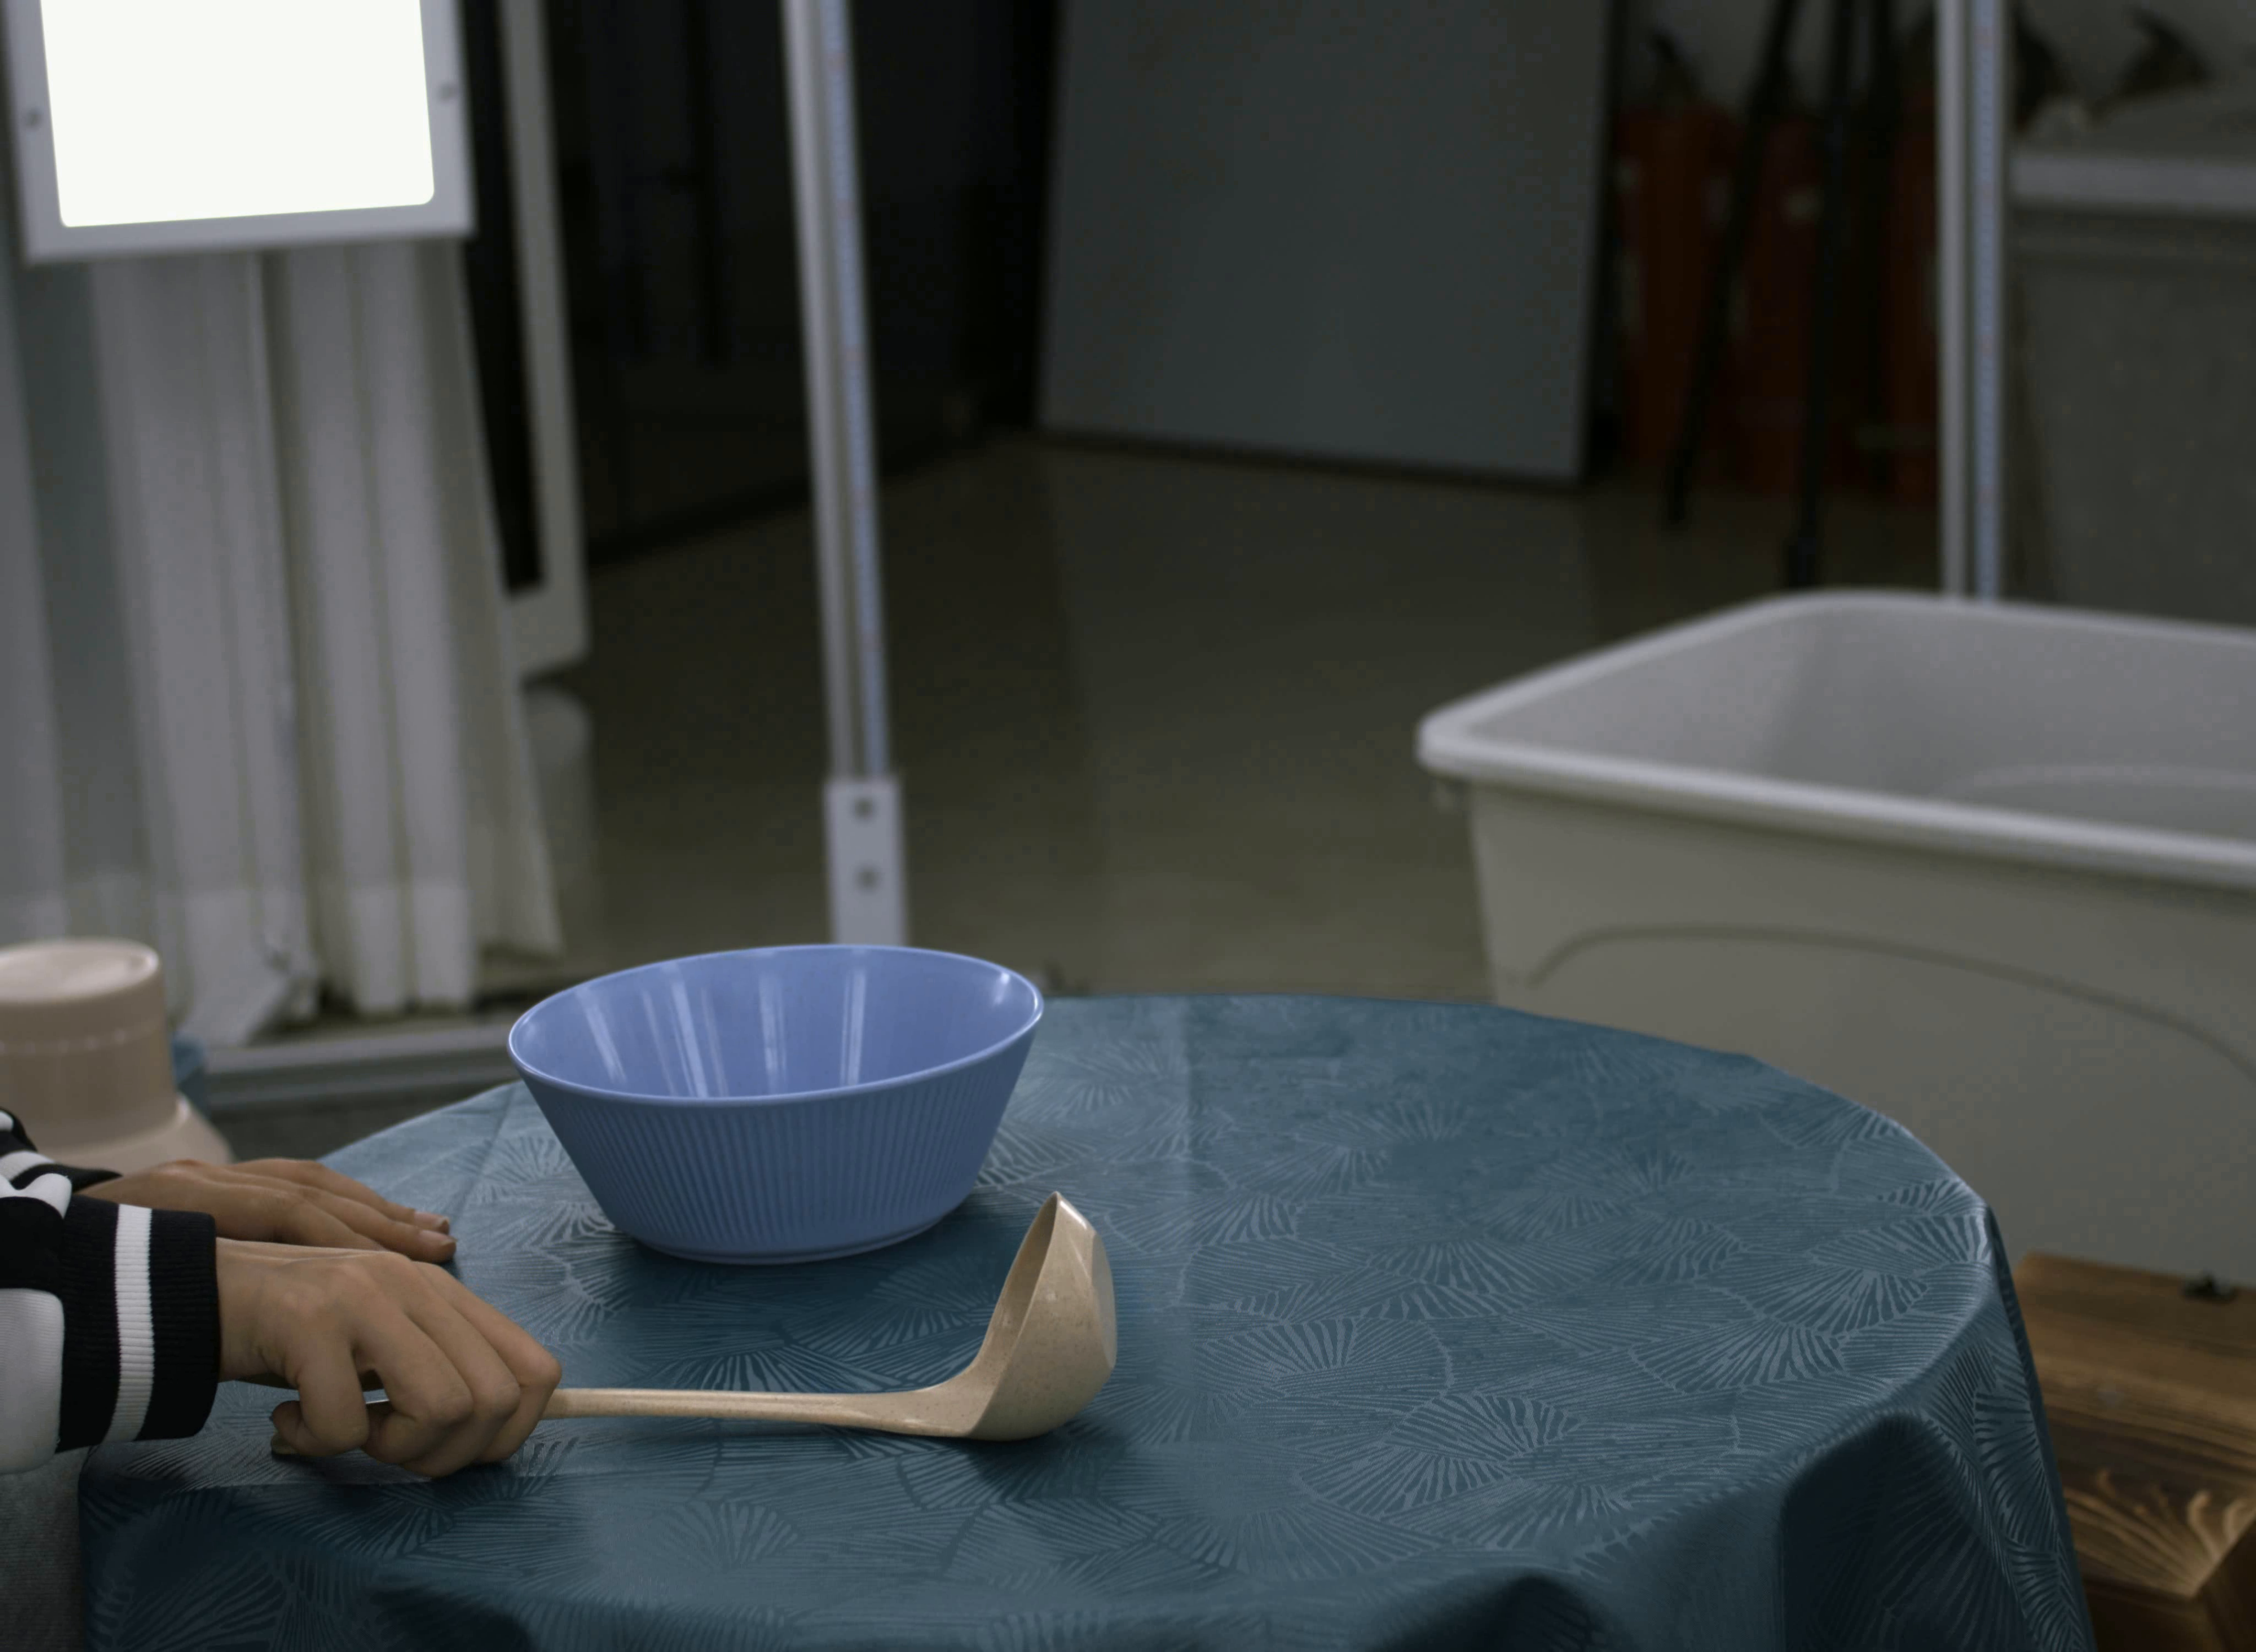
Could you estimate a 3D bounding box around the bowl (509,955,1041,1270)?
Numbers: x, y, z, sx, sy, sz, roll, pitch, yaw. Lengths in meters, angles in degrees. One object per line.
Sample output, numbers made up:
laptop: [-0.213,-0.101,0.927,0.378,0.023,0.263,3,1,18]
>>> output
bowl: [-0.112,0.095,1.761,0.174,0.071,0.176,-4,13,0]

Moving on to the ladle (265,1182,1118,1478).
ladle: [-0.129,0.146,1.556,0.252,0.073,0.072,-4,24,5]
